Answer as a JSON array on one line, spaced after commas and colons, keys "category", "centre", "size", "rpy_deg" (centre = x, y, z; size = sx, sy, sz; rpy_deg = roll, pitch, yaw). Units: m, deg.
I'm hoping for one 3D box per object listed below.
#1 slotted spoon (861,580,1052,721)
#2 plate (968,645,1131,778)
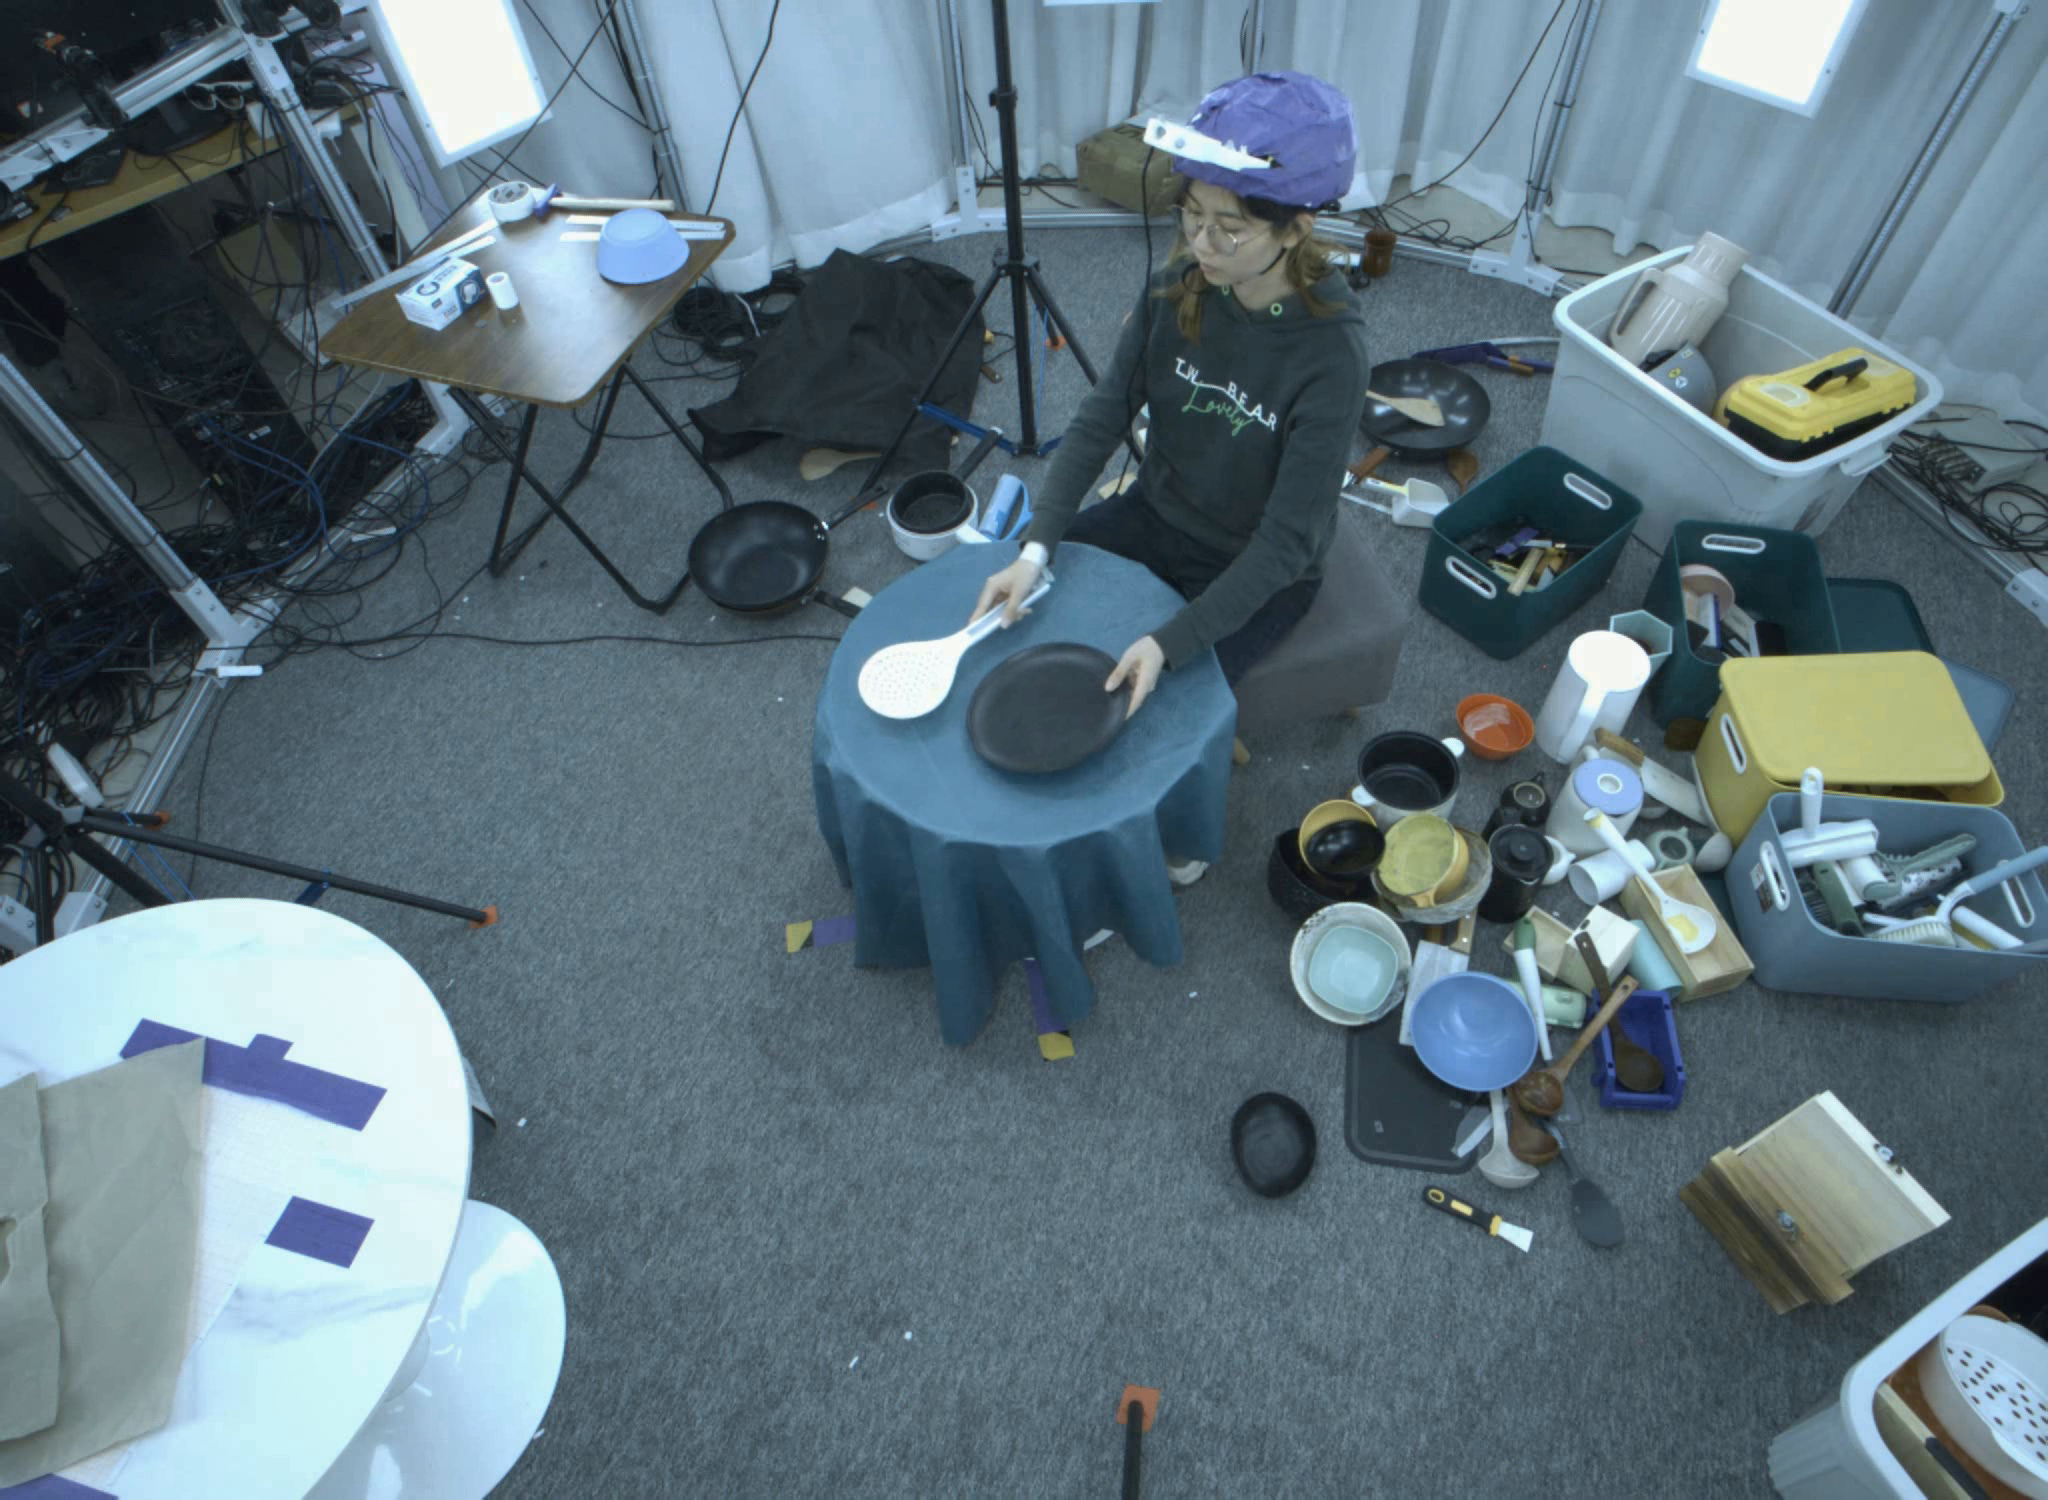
[{"category": "slotted spoon", "centre": [-0.094, -0.158, 1.862], "size": [0.351, 0.046, 0.134], "rpy_deg": [-40, 67, -17]}, {"category": "plate", "centre": [0.038, -0.054, 1.794], "size": [0.243, 0.024, 0.242], "rpy_deg": [-7, 53, 11]}]
